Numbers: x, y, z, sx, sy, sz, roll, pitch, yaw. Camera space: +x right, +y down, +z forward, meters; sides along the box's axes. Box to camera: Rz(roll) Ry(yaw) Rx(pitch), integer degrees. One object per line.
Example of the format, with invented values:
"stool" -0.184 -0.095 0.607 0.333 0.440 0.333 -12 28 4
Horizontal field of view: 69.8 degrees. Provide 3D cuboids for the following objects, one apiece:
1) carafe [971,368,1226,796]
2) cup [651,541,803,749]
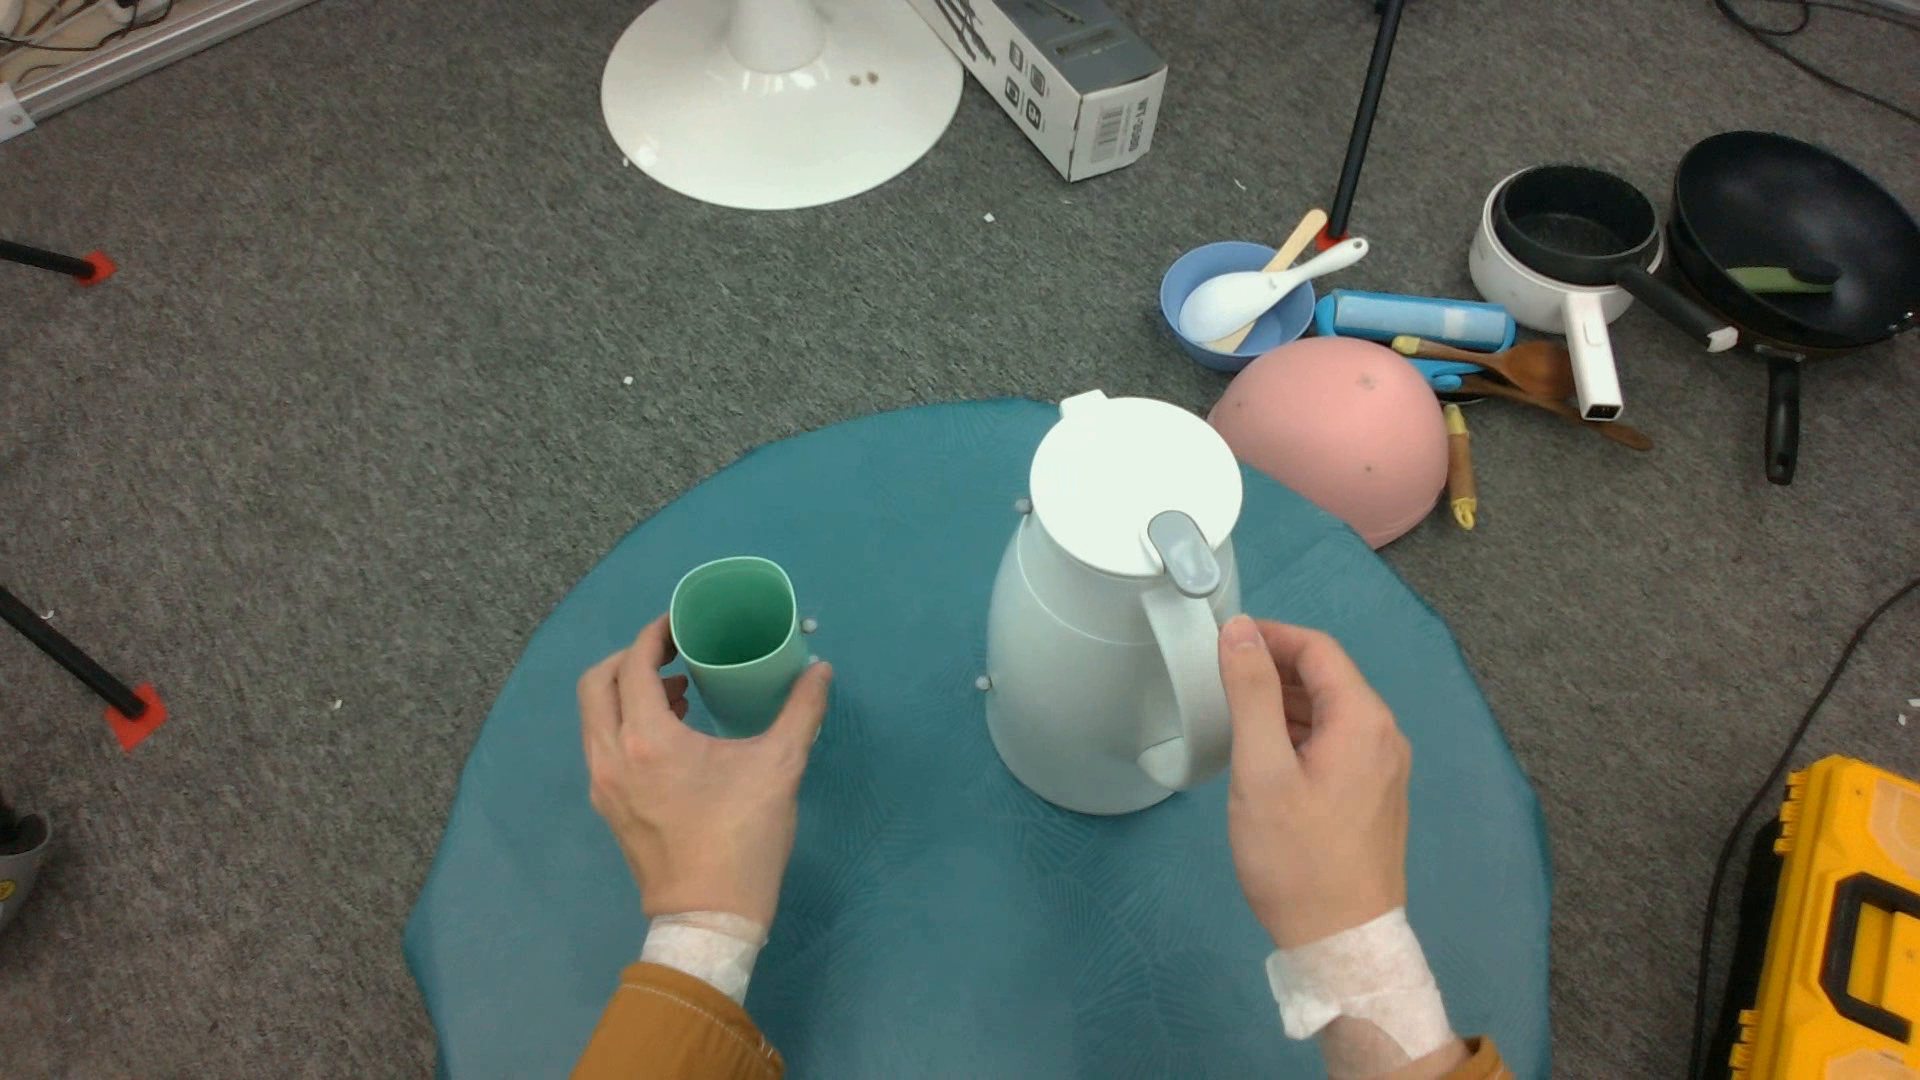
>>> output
"carafe" 0.079 0.039 0.681 0.133 0.247 0.168 -20 62 -11
"cup" -0.122 0.061 0.740 0.067 0.132 0.067 0 60 1
